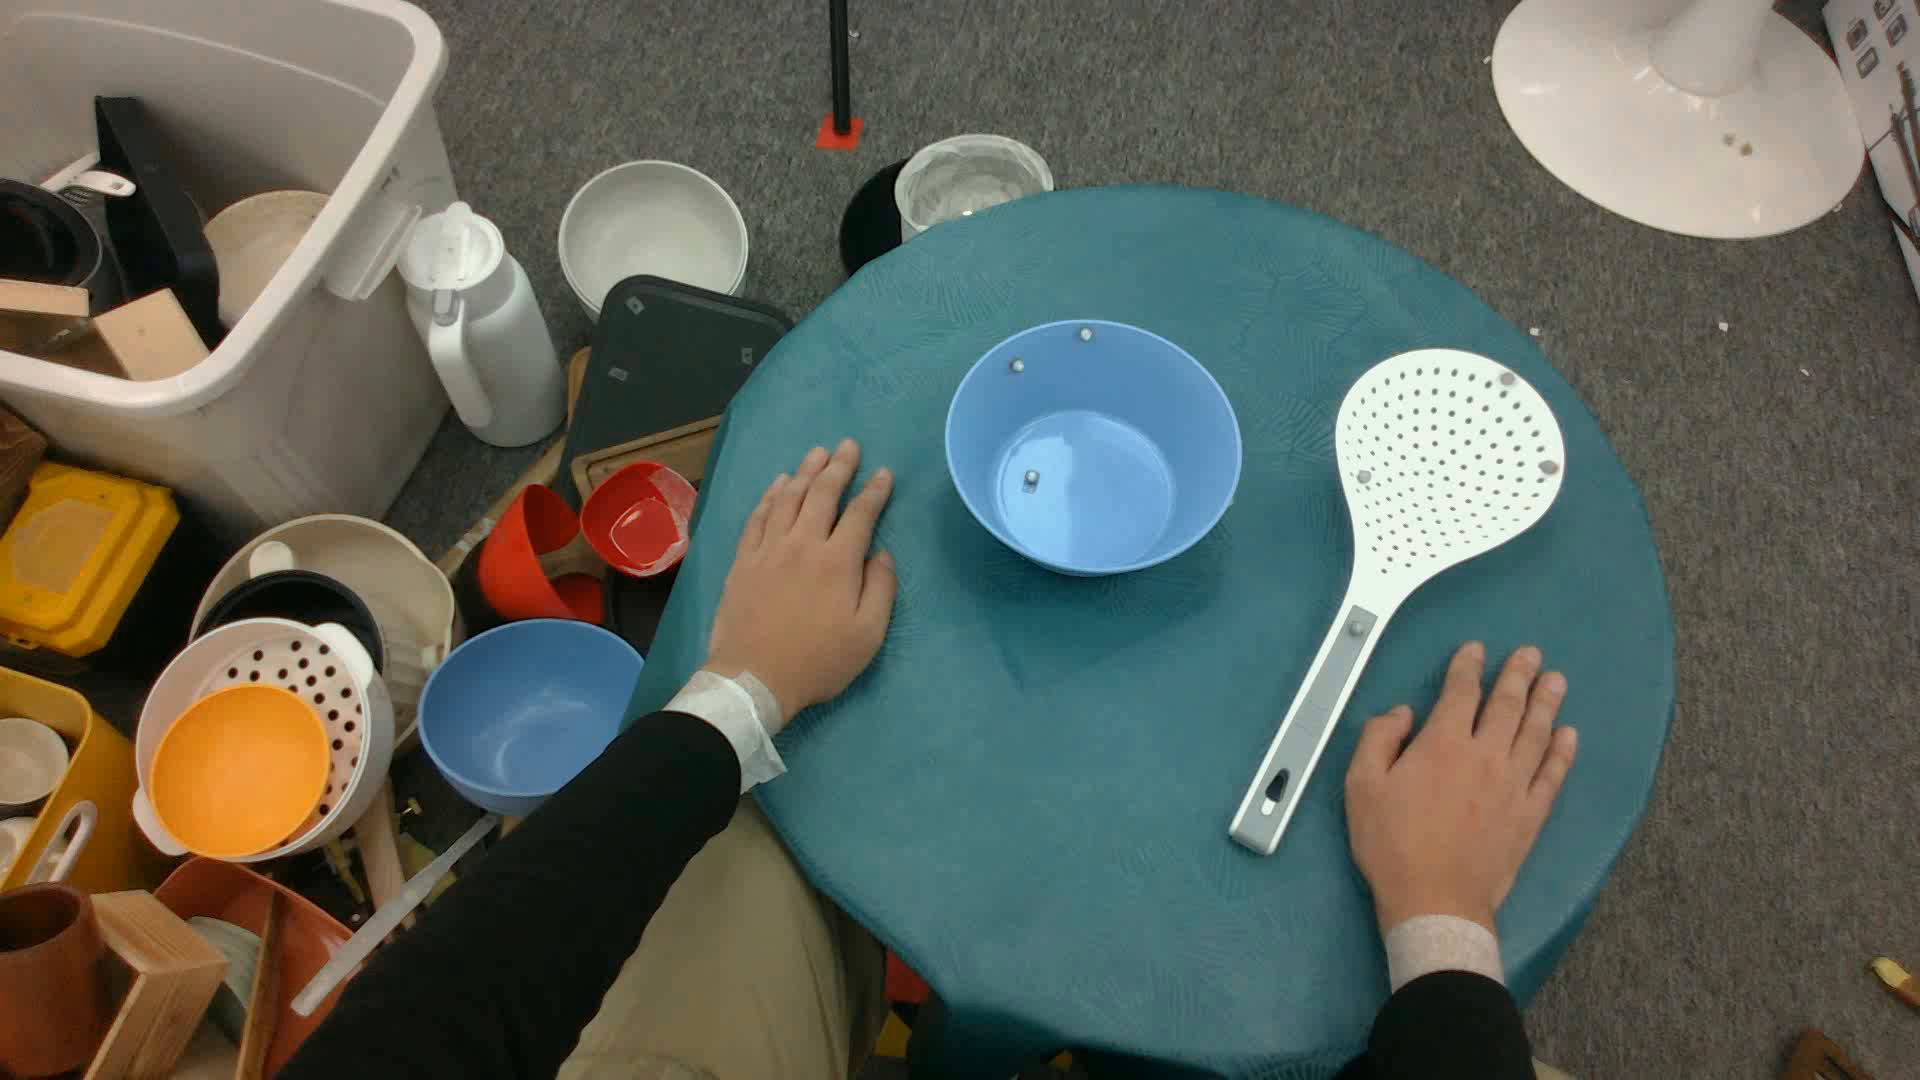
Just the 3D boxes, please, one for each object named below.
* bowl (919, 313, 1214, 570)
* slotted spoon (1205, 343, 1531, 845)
[{"bbox_3d":[0.062,-0.048,0.841,0.176,0.070,0.177,1,63,-3],"label":"bowl"},{"bbox_3d":[0.234,0.026,0.825,0.136,0.045,0.351,27,65,11],"label":"slotted spoon"}]
